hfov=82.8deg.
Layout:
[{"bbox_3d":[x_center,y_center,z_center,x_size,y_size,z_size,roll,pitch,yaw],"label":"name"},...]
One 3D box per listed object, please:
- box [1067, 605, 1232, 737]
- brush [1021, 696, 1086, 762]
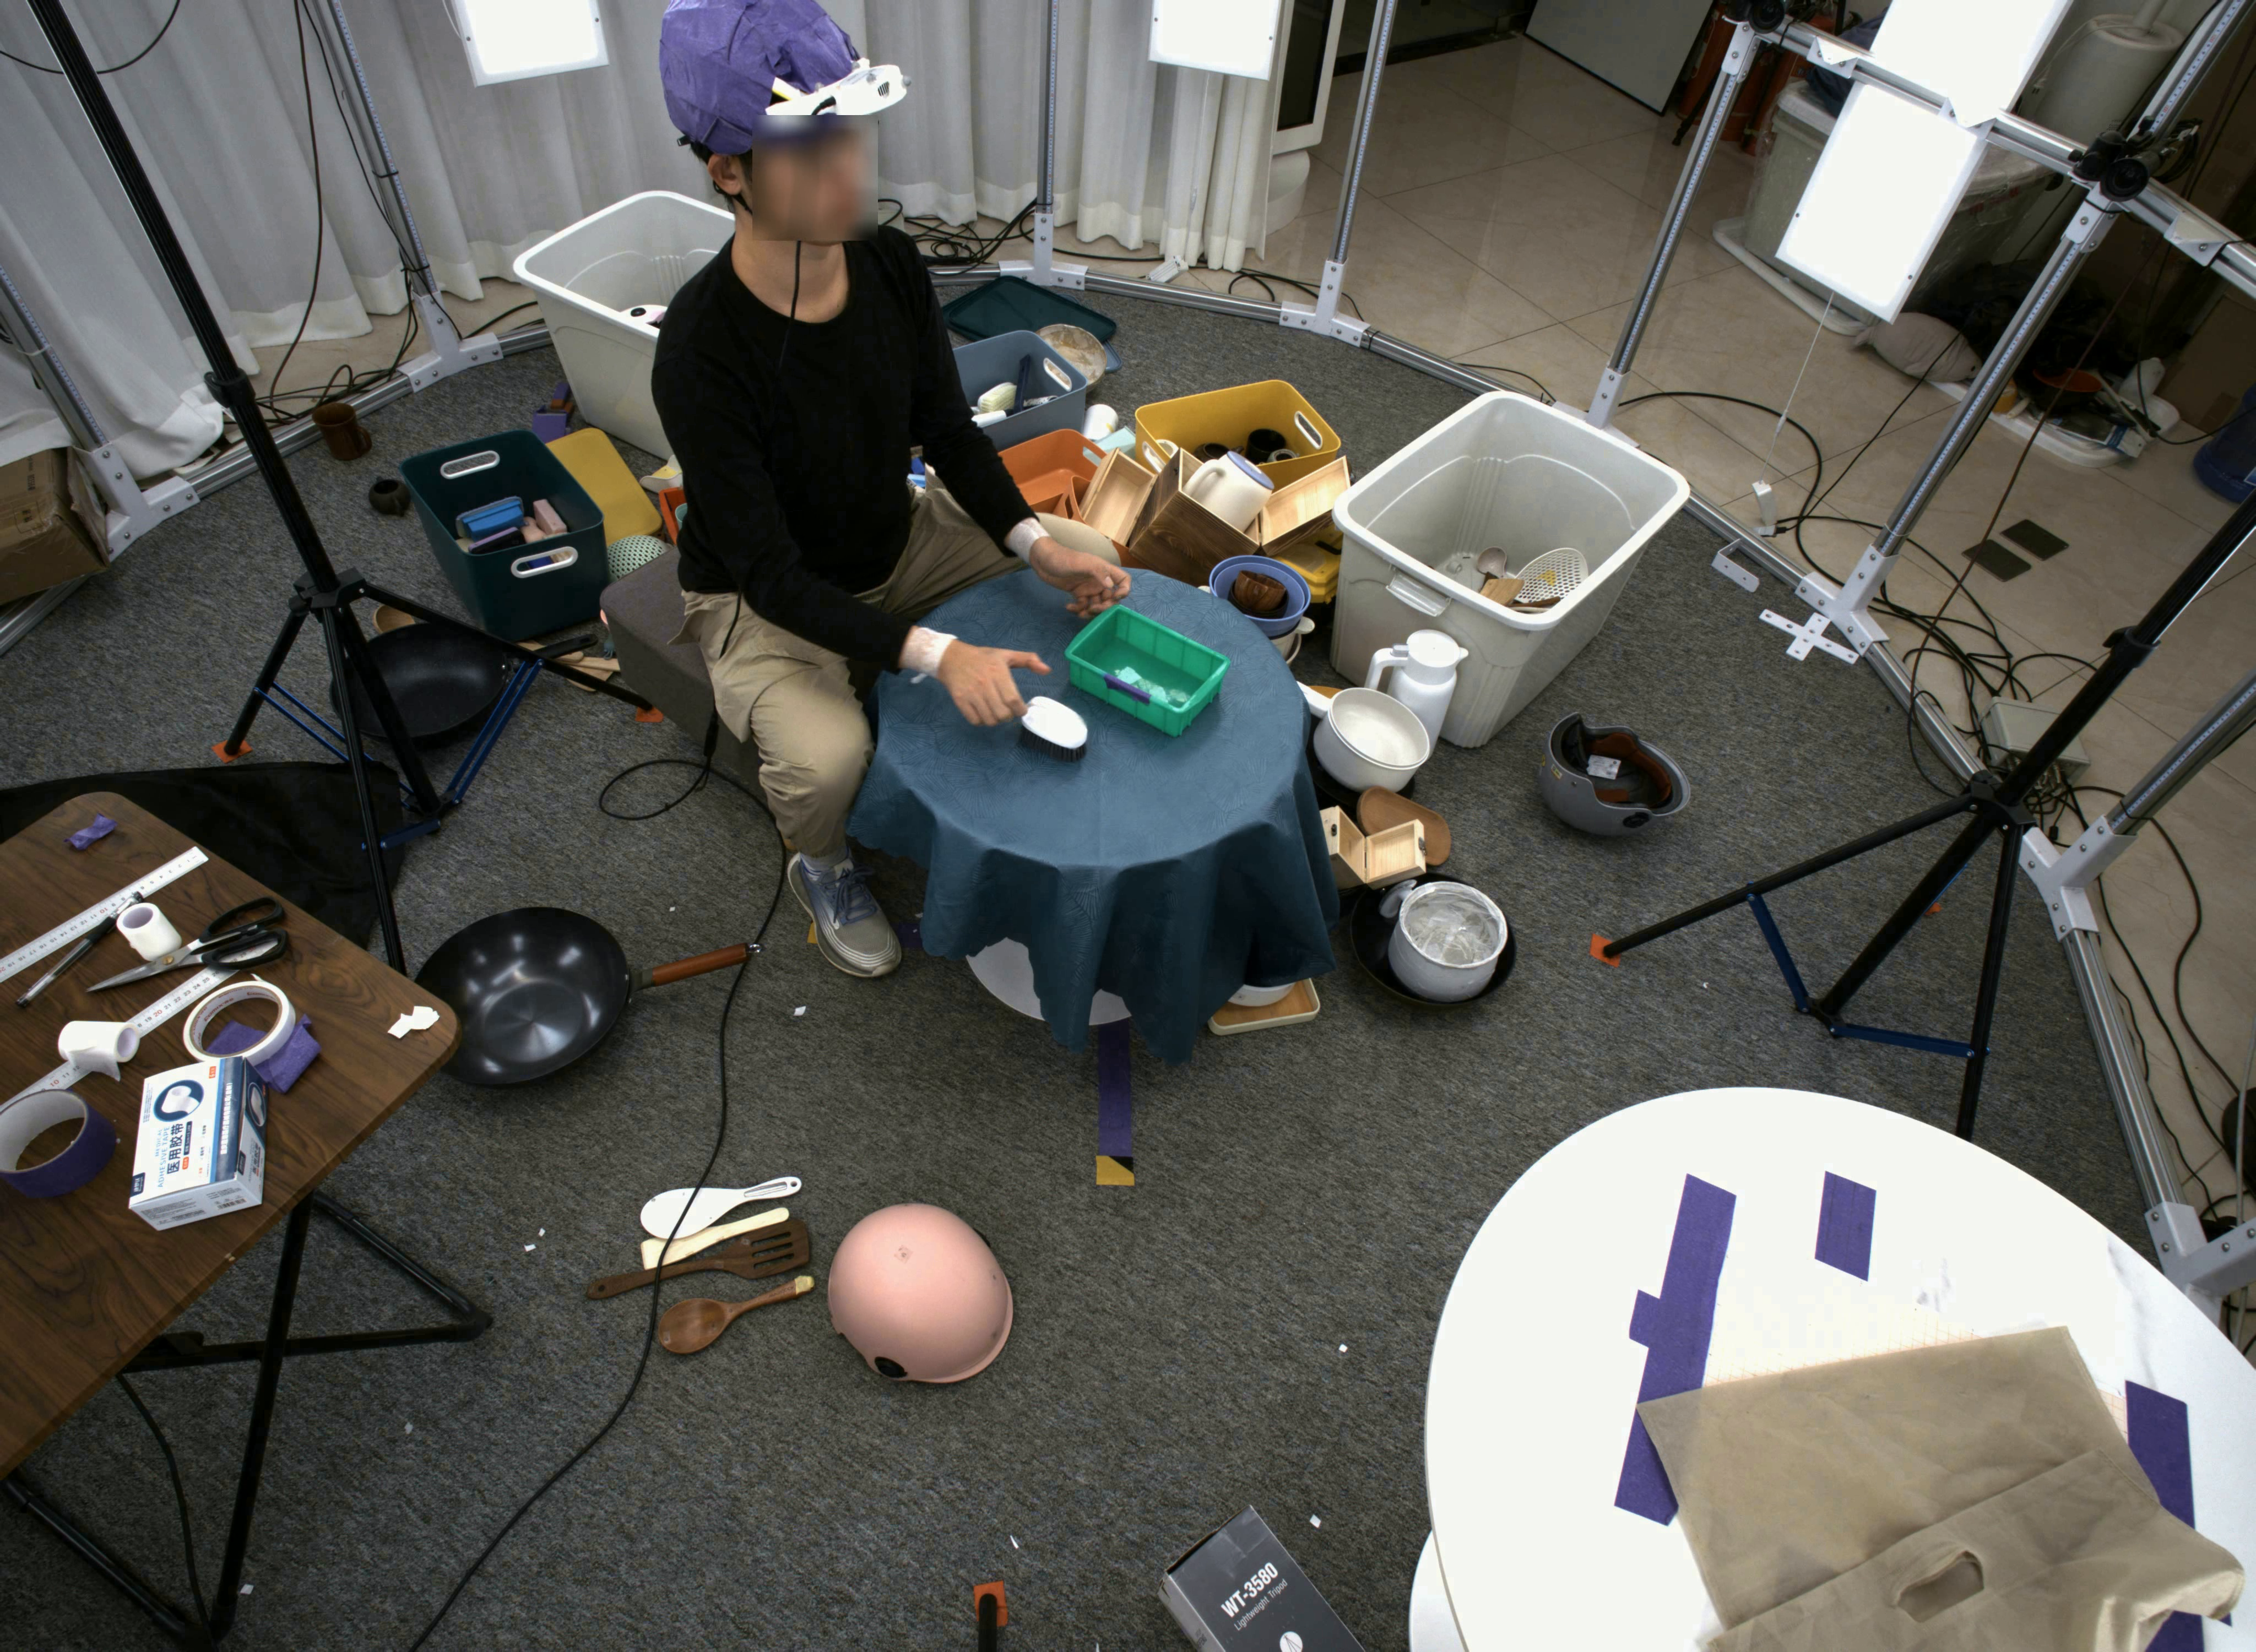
[{"bbox_3d":[0.030,-0.218,1.821,0.212,0.064,0.141,28,55,18],"label":"box"},{"bbox_3d":[-0.101,-0.139,1.736,0.100,0.071,0.051,30,54,20],"label":"brush"}]
